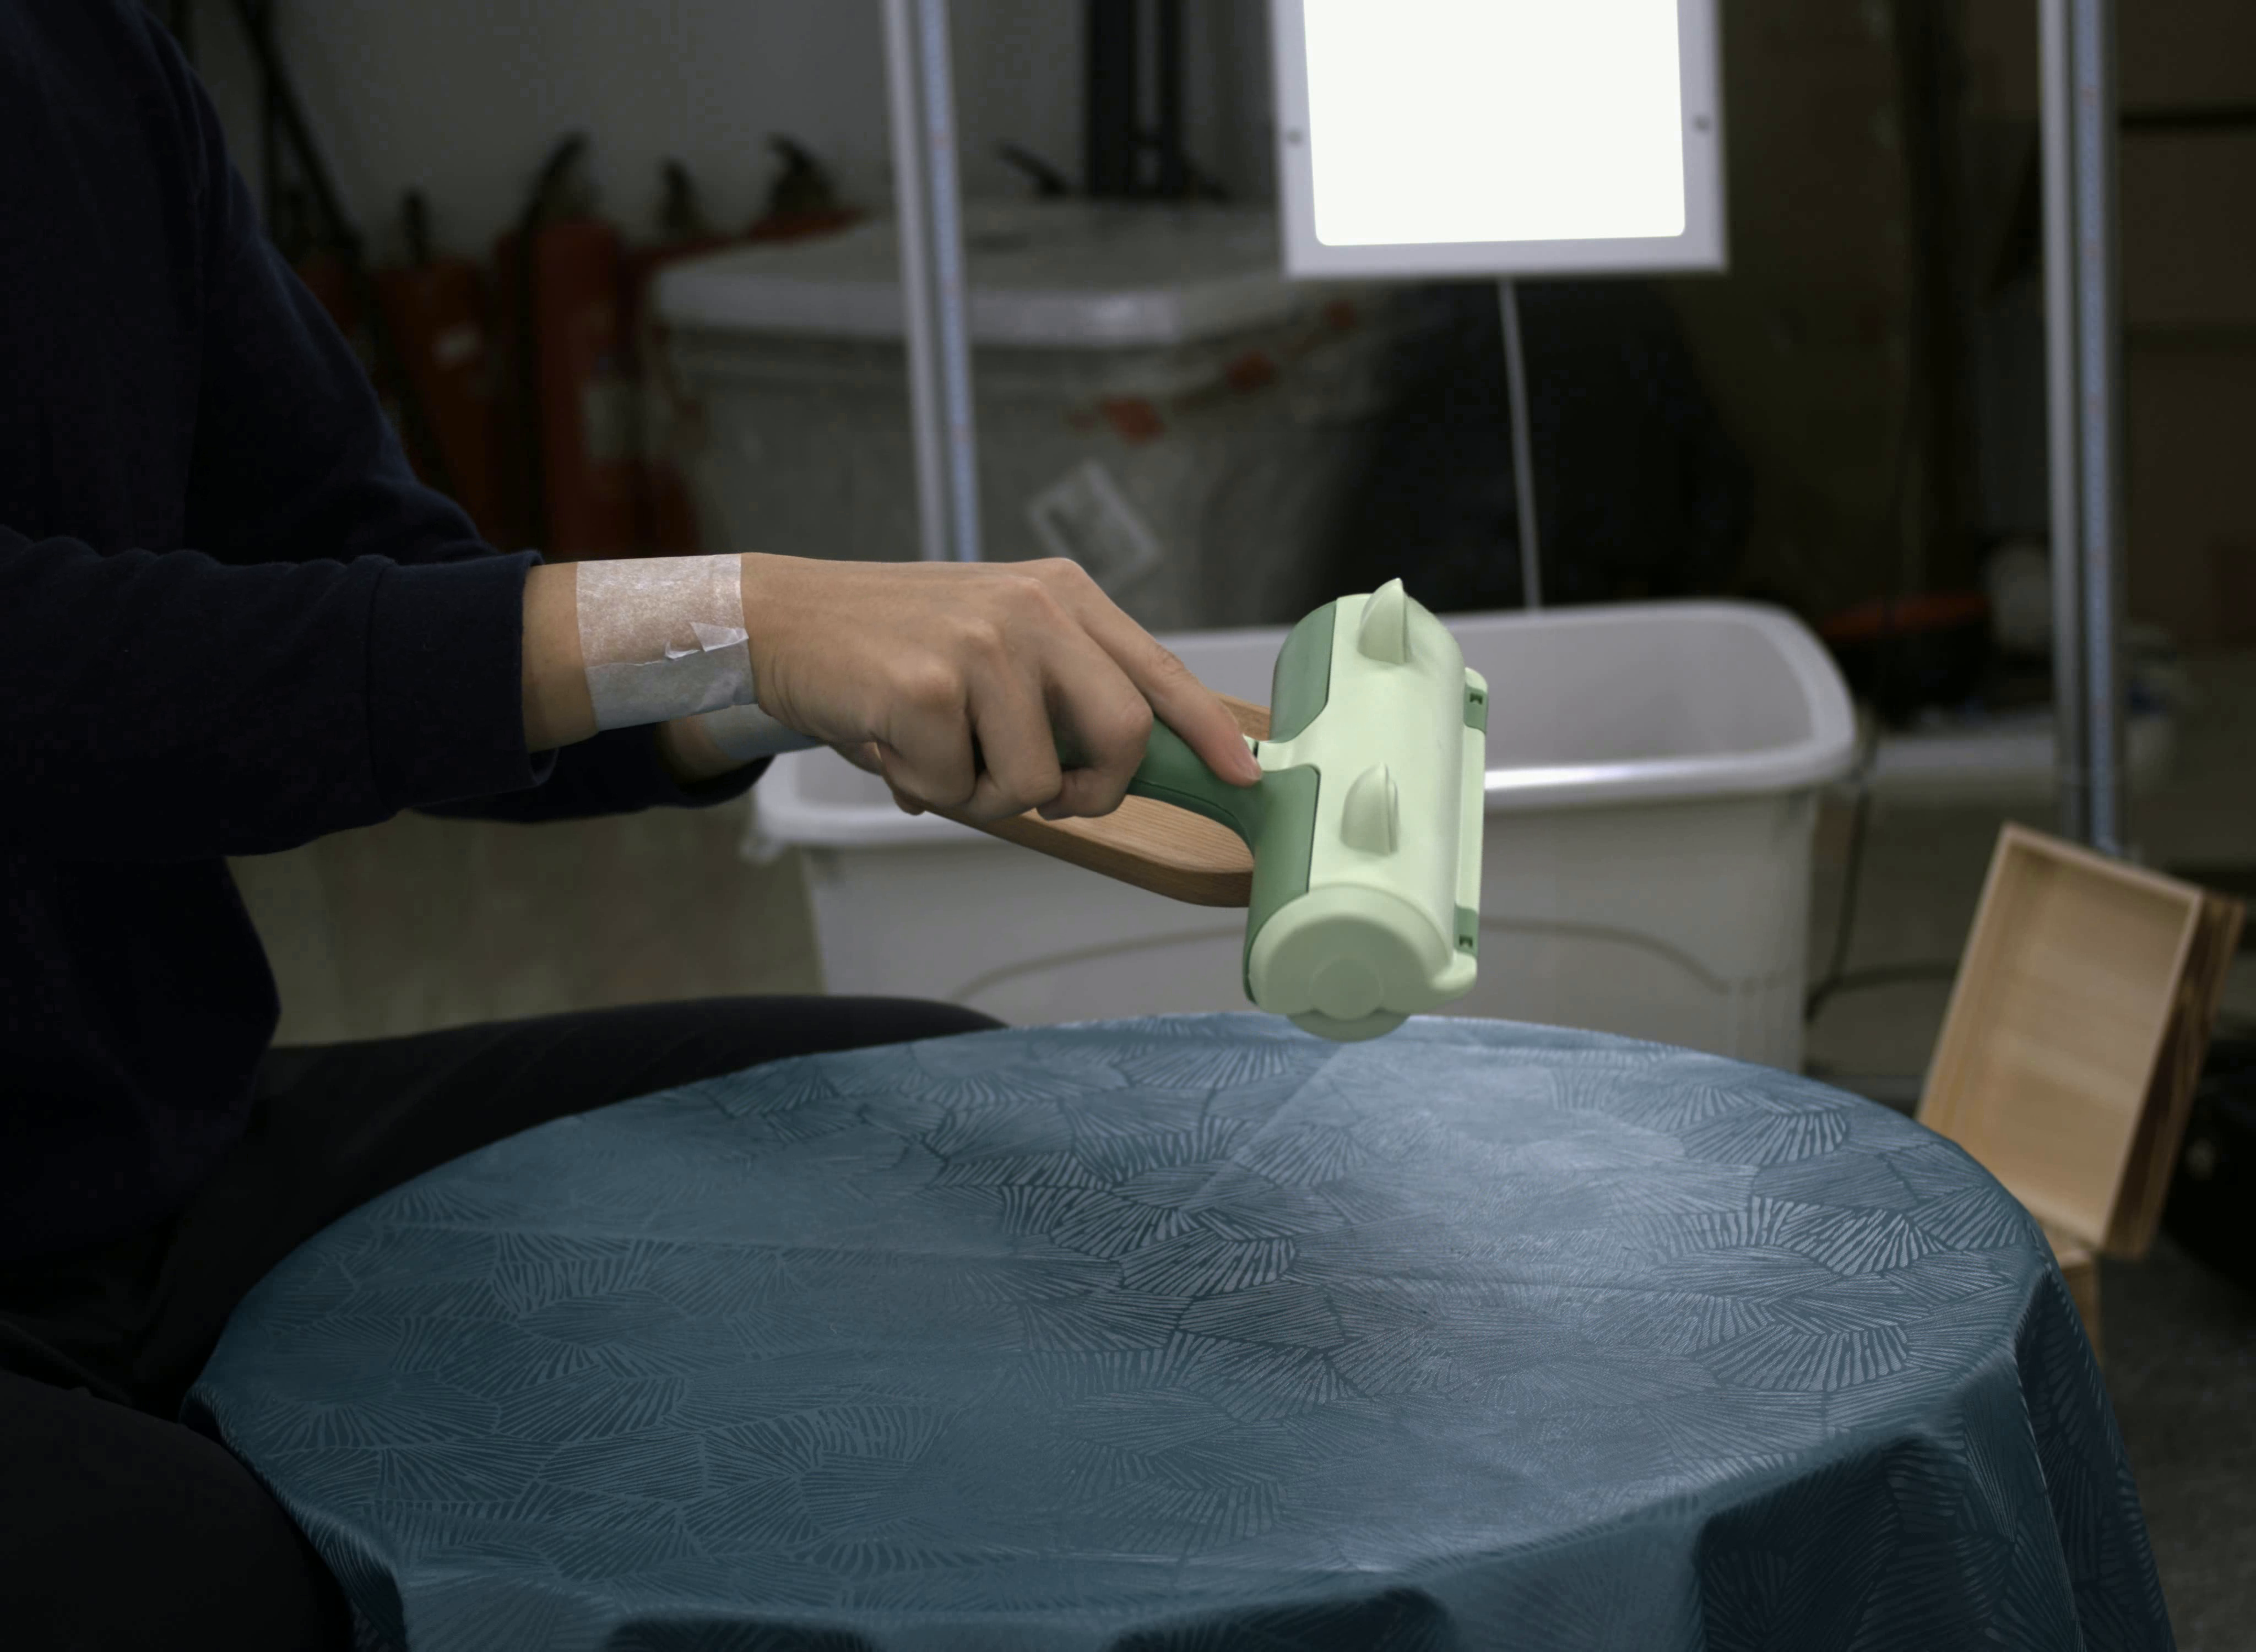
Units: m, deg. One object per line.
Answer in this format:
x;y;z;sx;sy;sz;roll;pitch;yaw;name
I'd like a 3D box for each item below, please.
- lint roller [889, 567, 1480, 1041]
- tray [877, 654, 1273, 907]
0.024;-0.036;1.660;0.182;0.083;0.197;25;31;-10;lint roller
0.008;-0.016;1.793;0.099;0.020;0.236;-29;31;-30;tray
